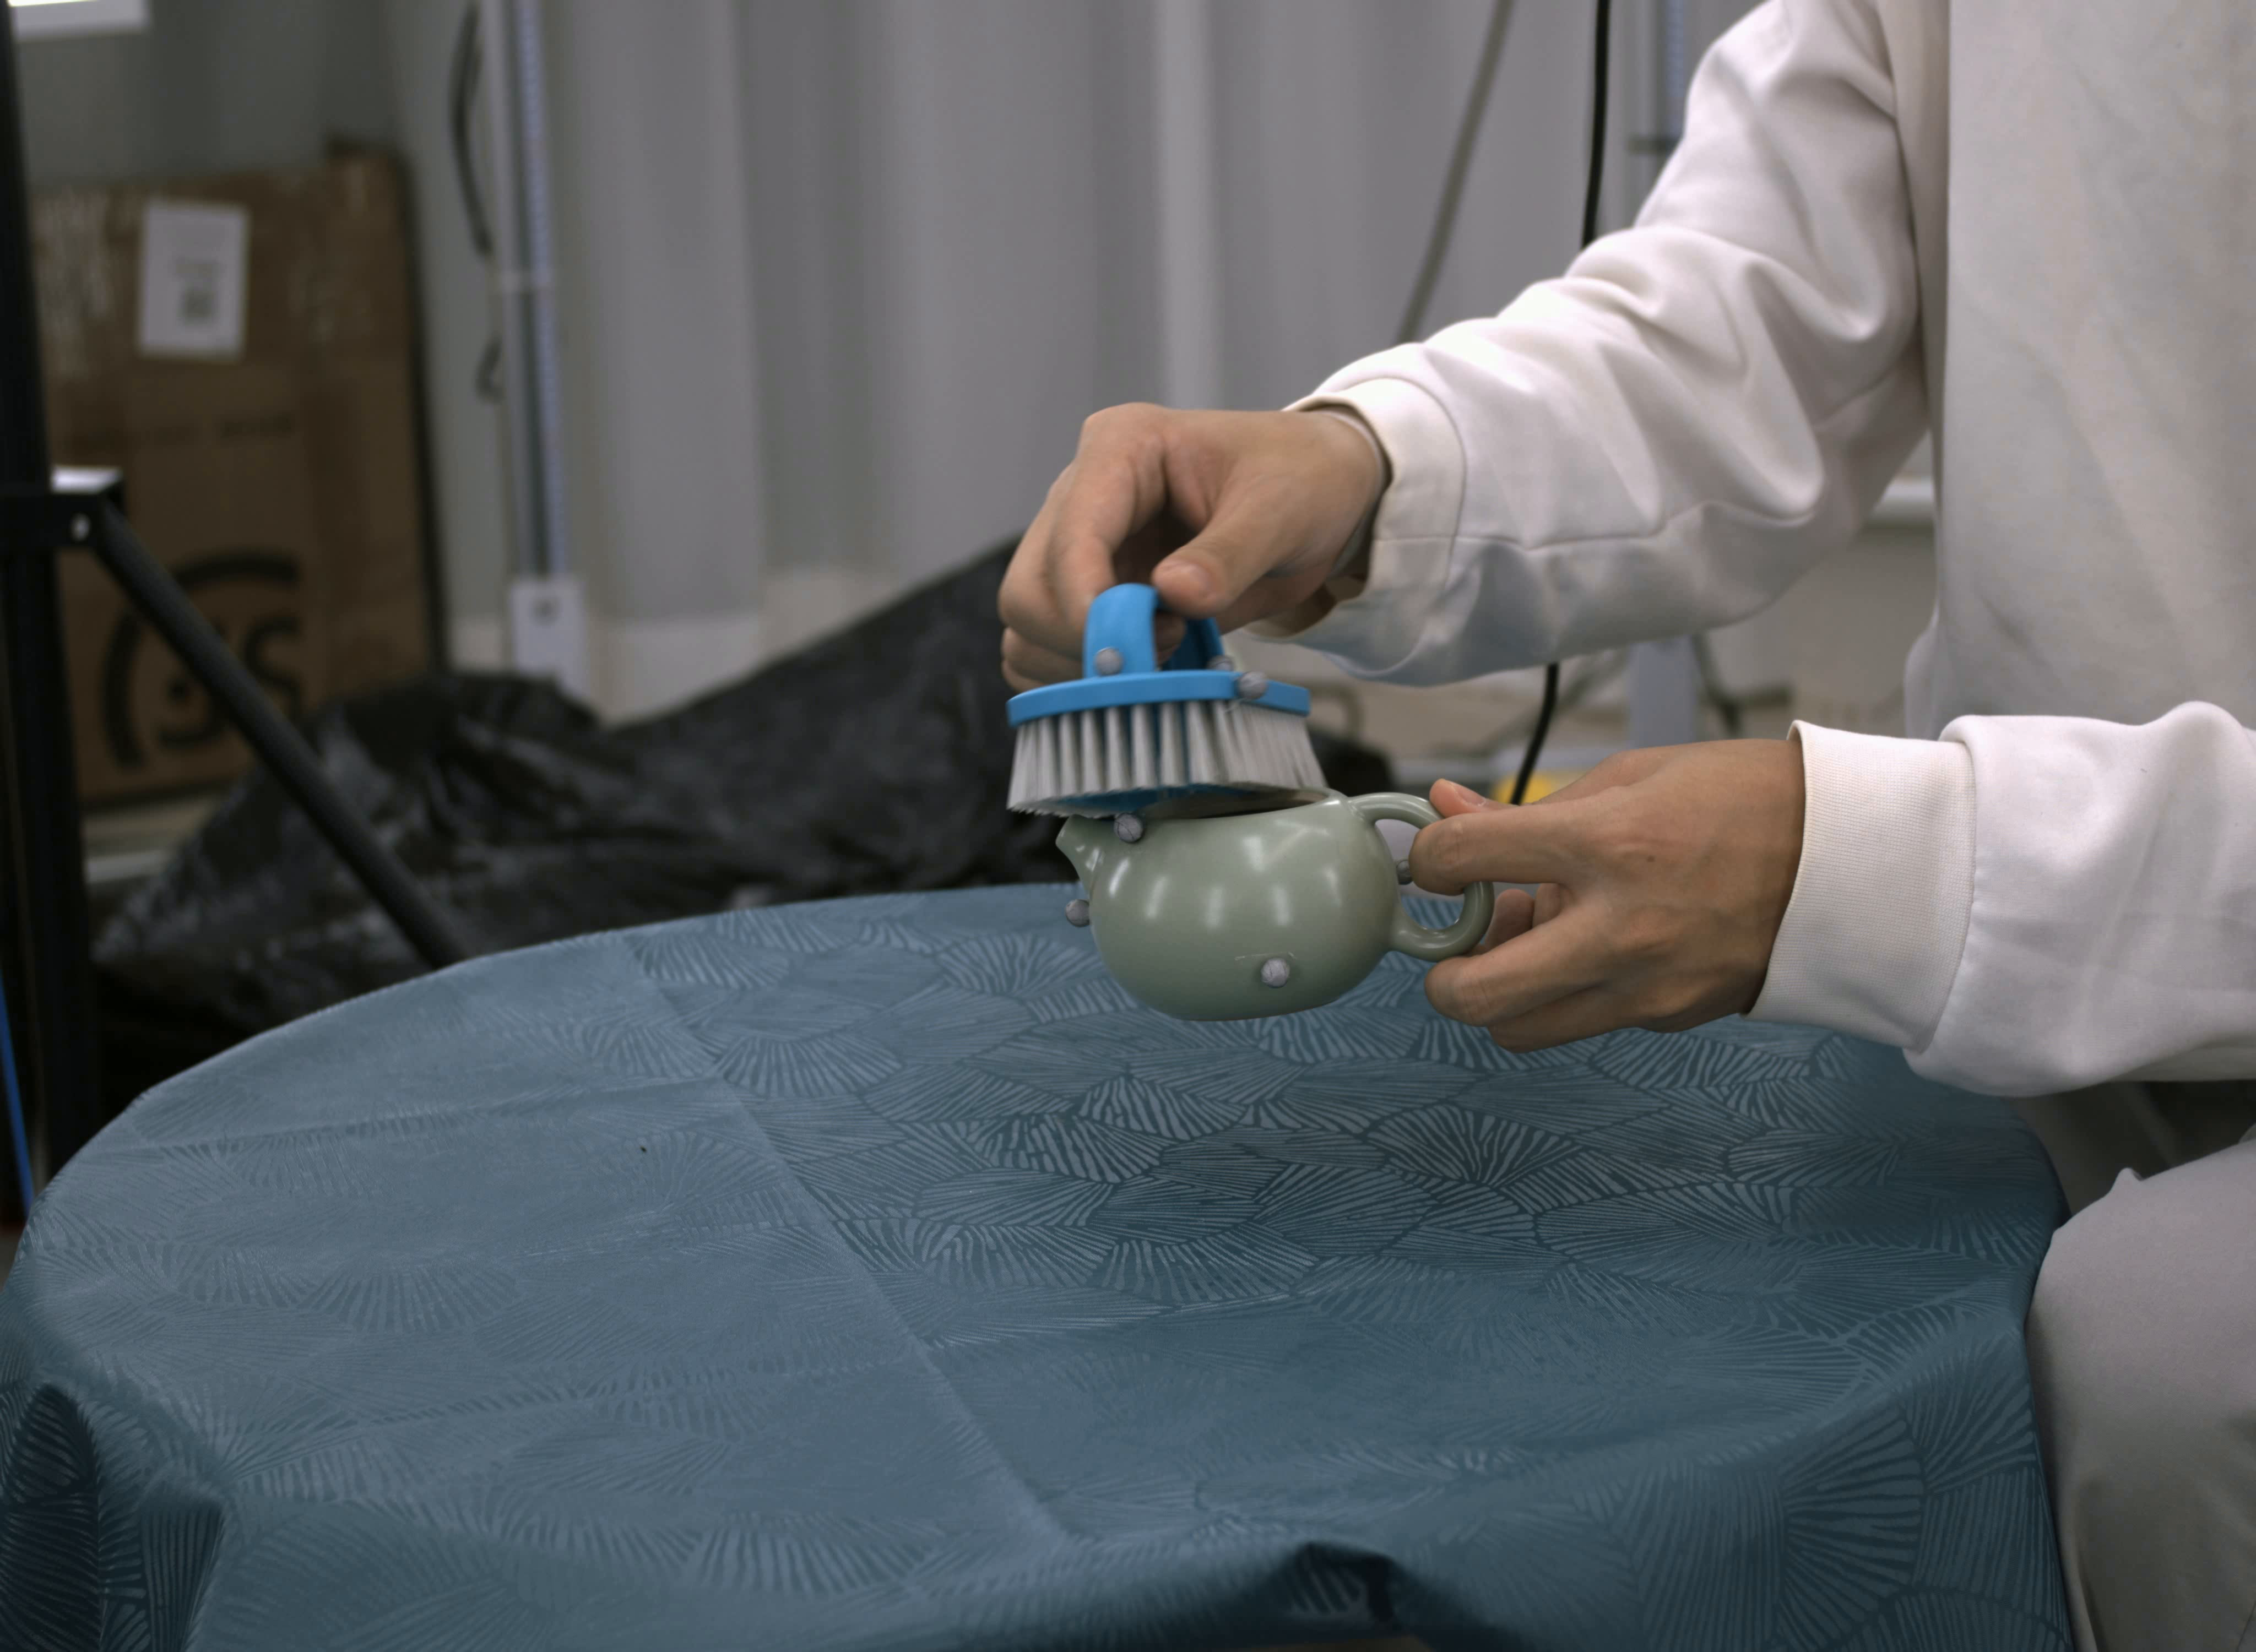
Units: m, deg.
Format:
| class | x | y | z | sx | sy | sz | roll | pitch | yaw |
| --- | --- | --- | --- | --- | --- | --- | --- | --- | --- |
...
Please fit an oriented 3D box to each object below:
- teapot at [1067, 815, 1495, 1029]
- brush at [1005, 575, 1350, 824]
| class | x | y | z | sx | sy | sz | roll | pitch | yaw |
| --- | --- | --- | --- | --- | --- | --- | --- | --- | --- |
| teapot | 0.045 | 0.028 | 1.553 | 0.130 | 0.061 | 0.090 | -1 | -1 | 18 |
| brush | 0.012 | -0.040 | 1.573 | 0.085 | 0.064 | 0.139 | -11 | -7 | 17 |
